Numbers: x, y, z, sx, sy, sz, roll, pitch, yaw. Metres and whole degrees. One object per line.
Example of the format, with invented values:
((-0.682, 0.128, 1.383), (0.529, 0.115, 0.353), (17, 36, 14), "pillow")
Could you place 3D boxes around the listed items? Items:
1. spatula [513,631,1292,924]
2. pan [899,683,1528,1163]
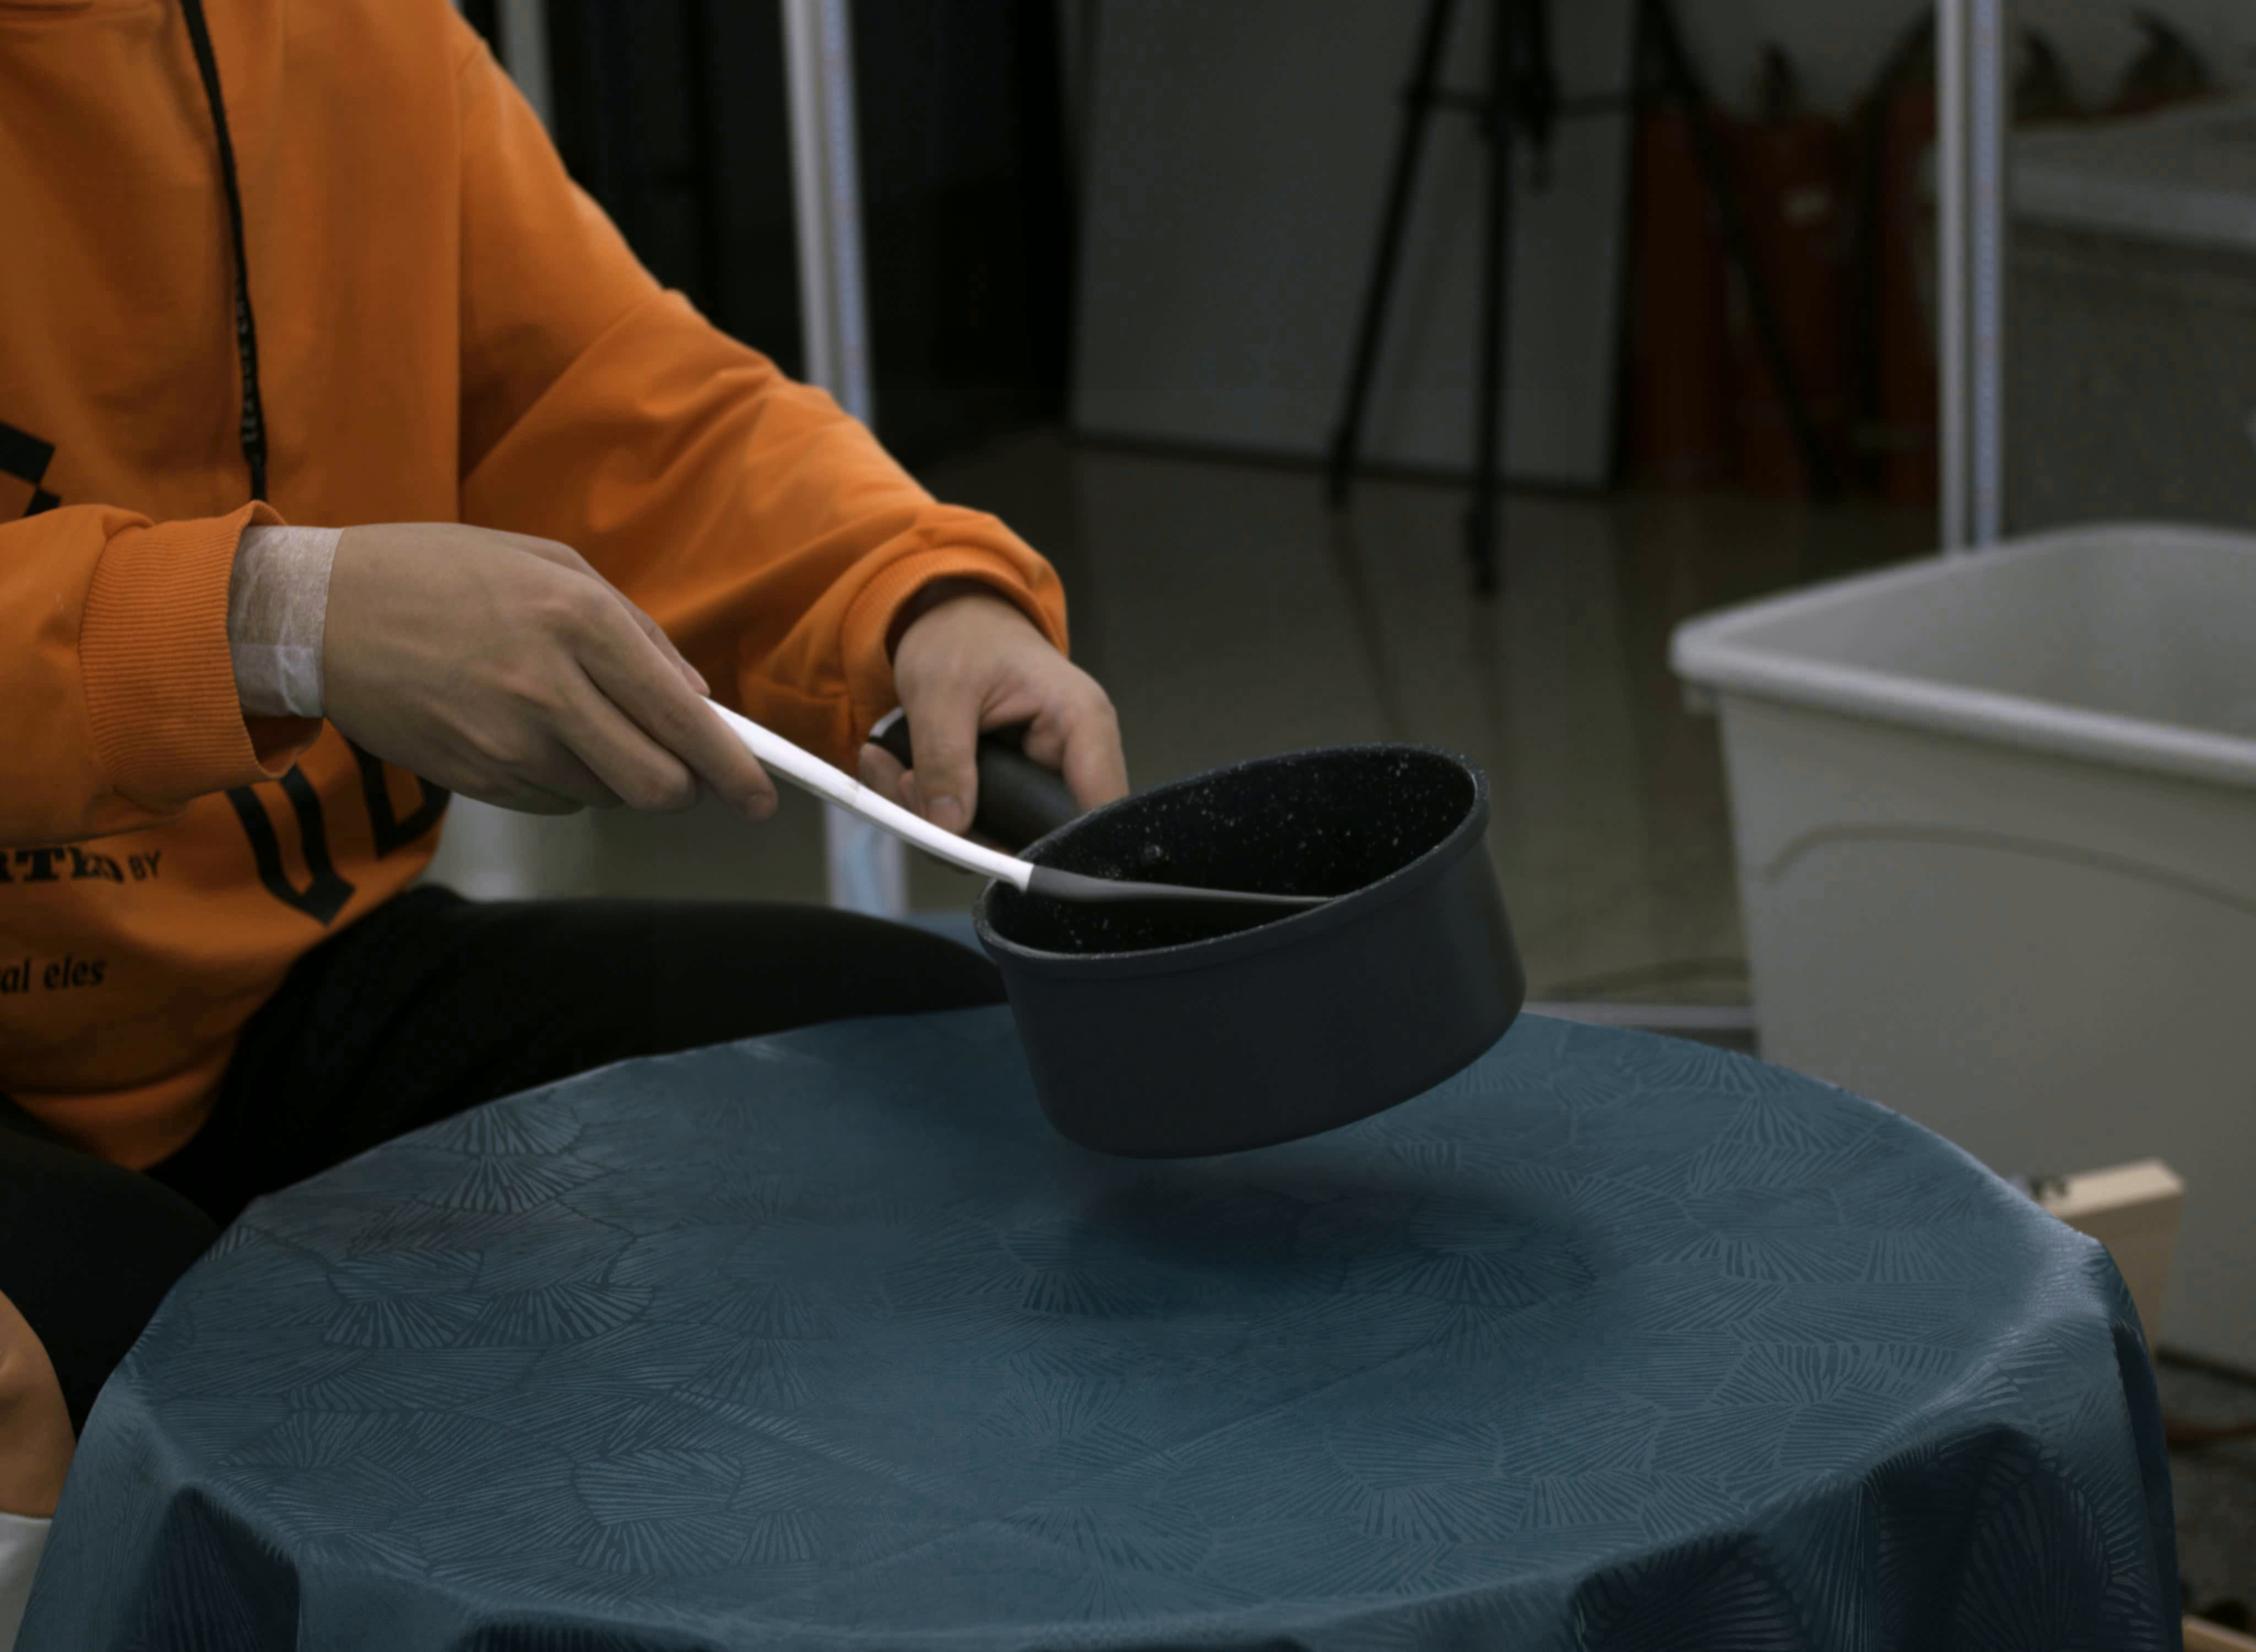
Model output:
((-0.060, -0.004, 1.740), (0.285, 0.032, 0.058), (18, -14, 6), "spatula")
((0.007, 0.023, 1.791), (0.169, 0.087, 0.332), (-22, 19, -19), "pan")
